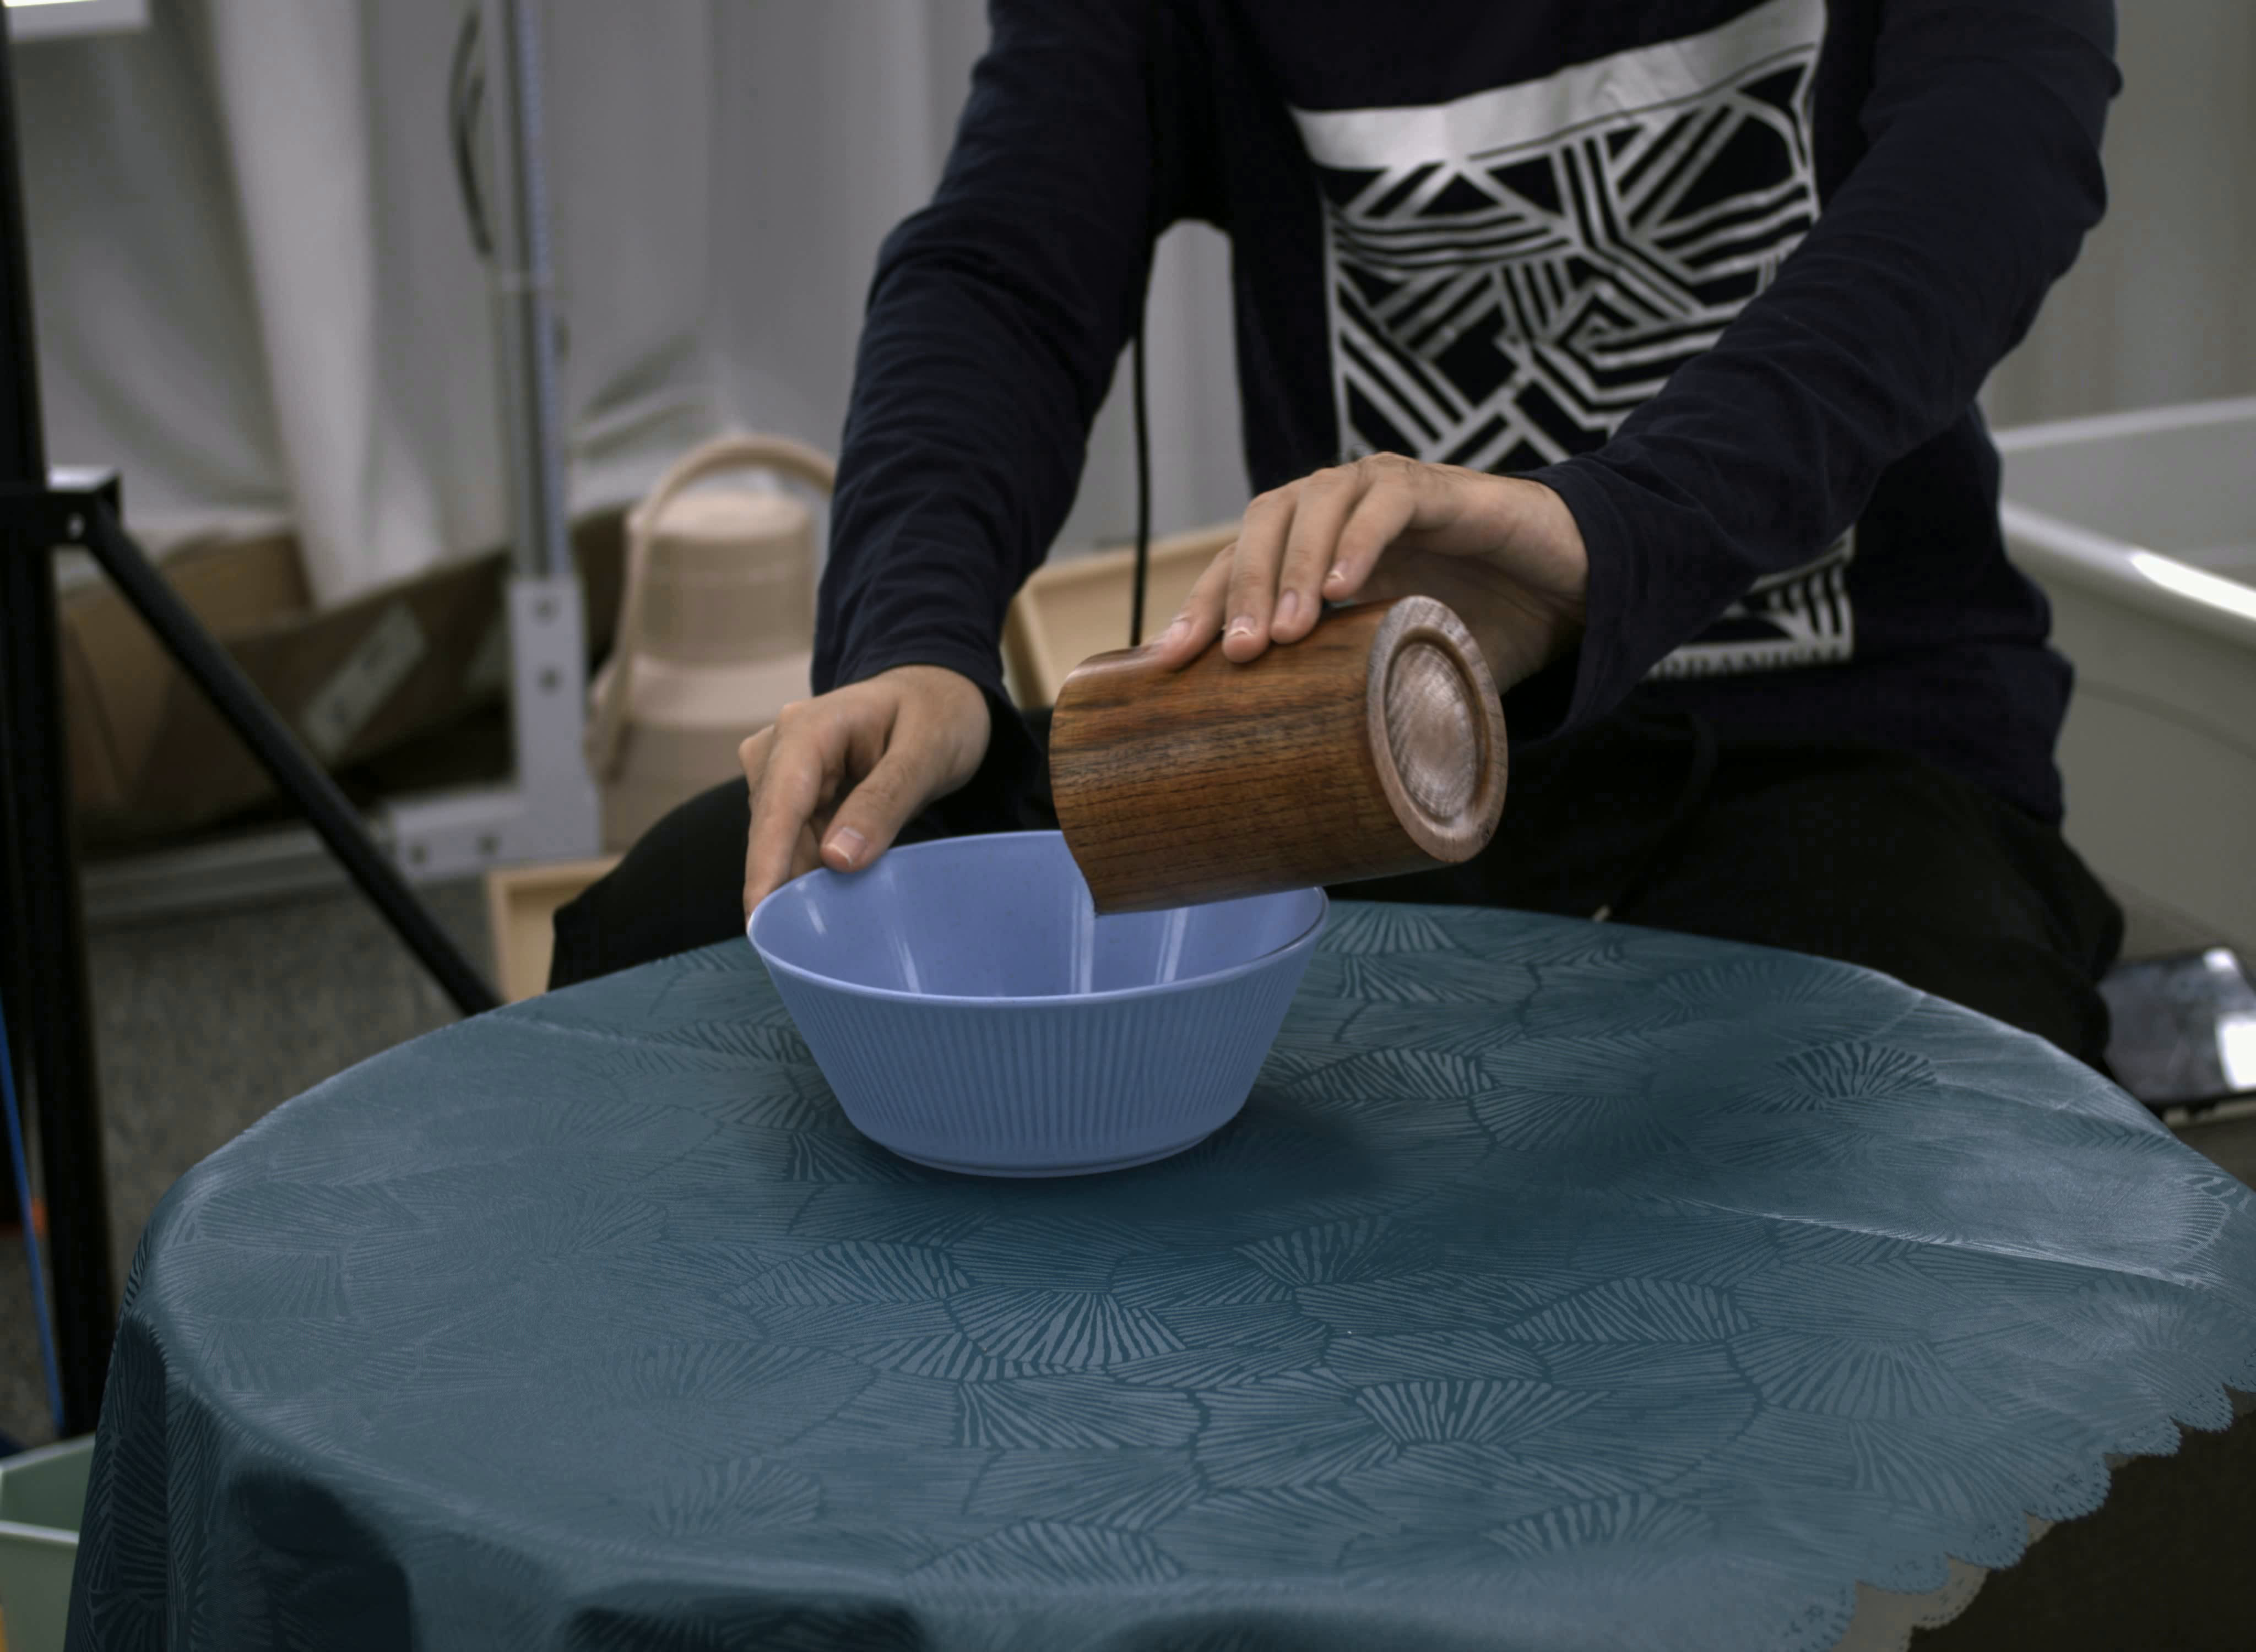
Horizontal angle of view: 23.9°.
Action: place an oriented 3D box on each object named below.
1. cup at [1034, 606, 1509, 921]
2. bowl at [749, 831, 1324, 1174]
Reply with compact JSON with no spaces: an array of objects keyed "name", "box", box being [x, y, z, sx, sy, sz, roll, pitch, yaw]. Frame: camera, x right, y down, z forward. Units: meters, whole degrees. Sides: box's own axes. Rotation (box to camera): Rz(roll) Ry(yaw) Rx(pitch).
[{"name":"cup","box":[0.042,-0.017,1.560,0.120,0.088,0.086,-6,10,37]},{"name":"bowl","box":[-0.027,0.056,1.619,0.175,0.070,0.177,-2,15,-1]}]
